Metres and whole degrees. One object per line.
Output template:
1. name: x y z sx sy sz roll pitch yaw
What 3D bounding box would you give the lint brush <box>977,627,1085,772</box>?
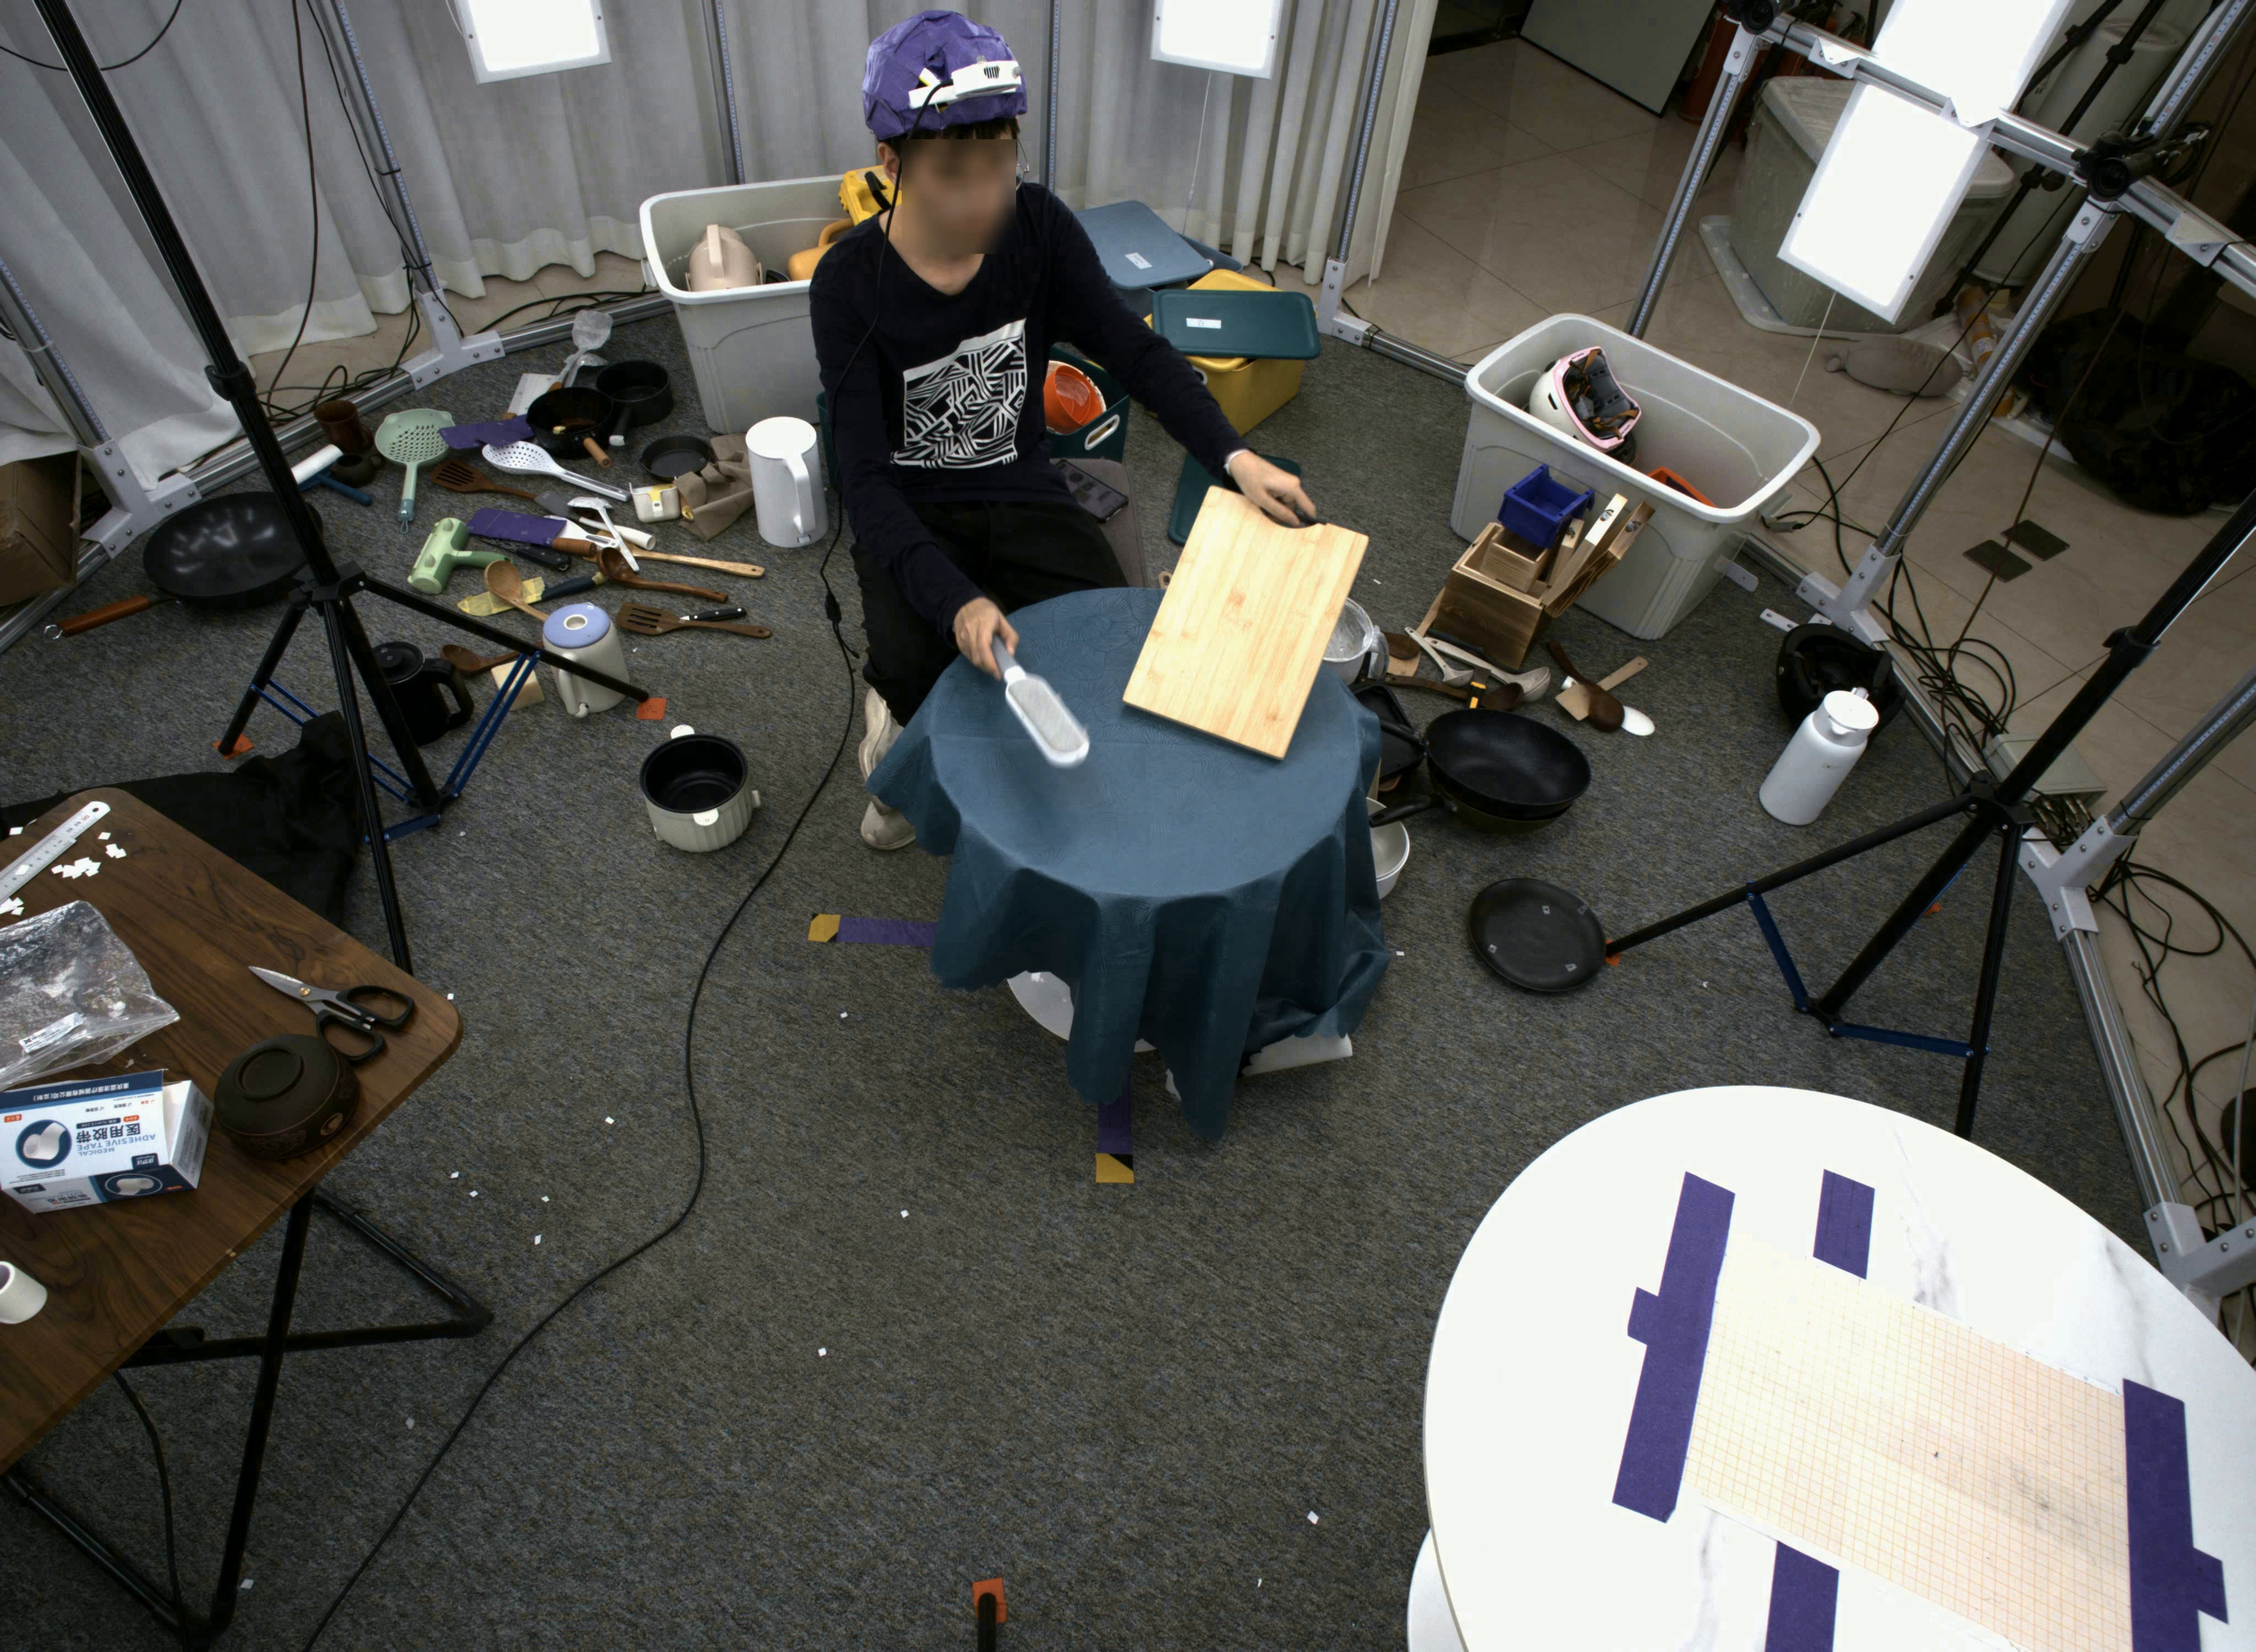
1. lint brush: -0.136 -0.174 1.711 0.060 0.020 0.316 -21 49 -15

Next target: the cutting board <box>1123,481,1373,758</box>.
1. cutting board: 0.168 -0.294 1.805 0.252 0.023 0.351 20 81 11
